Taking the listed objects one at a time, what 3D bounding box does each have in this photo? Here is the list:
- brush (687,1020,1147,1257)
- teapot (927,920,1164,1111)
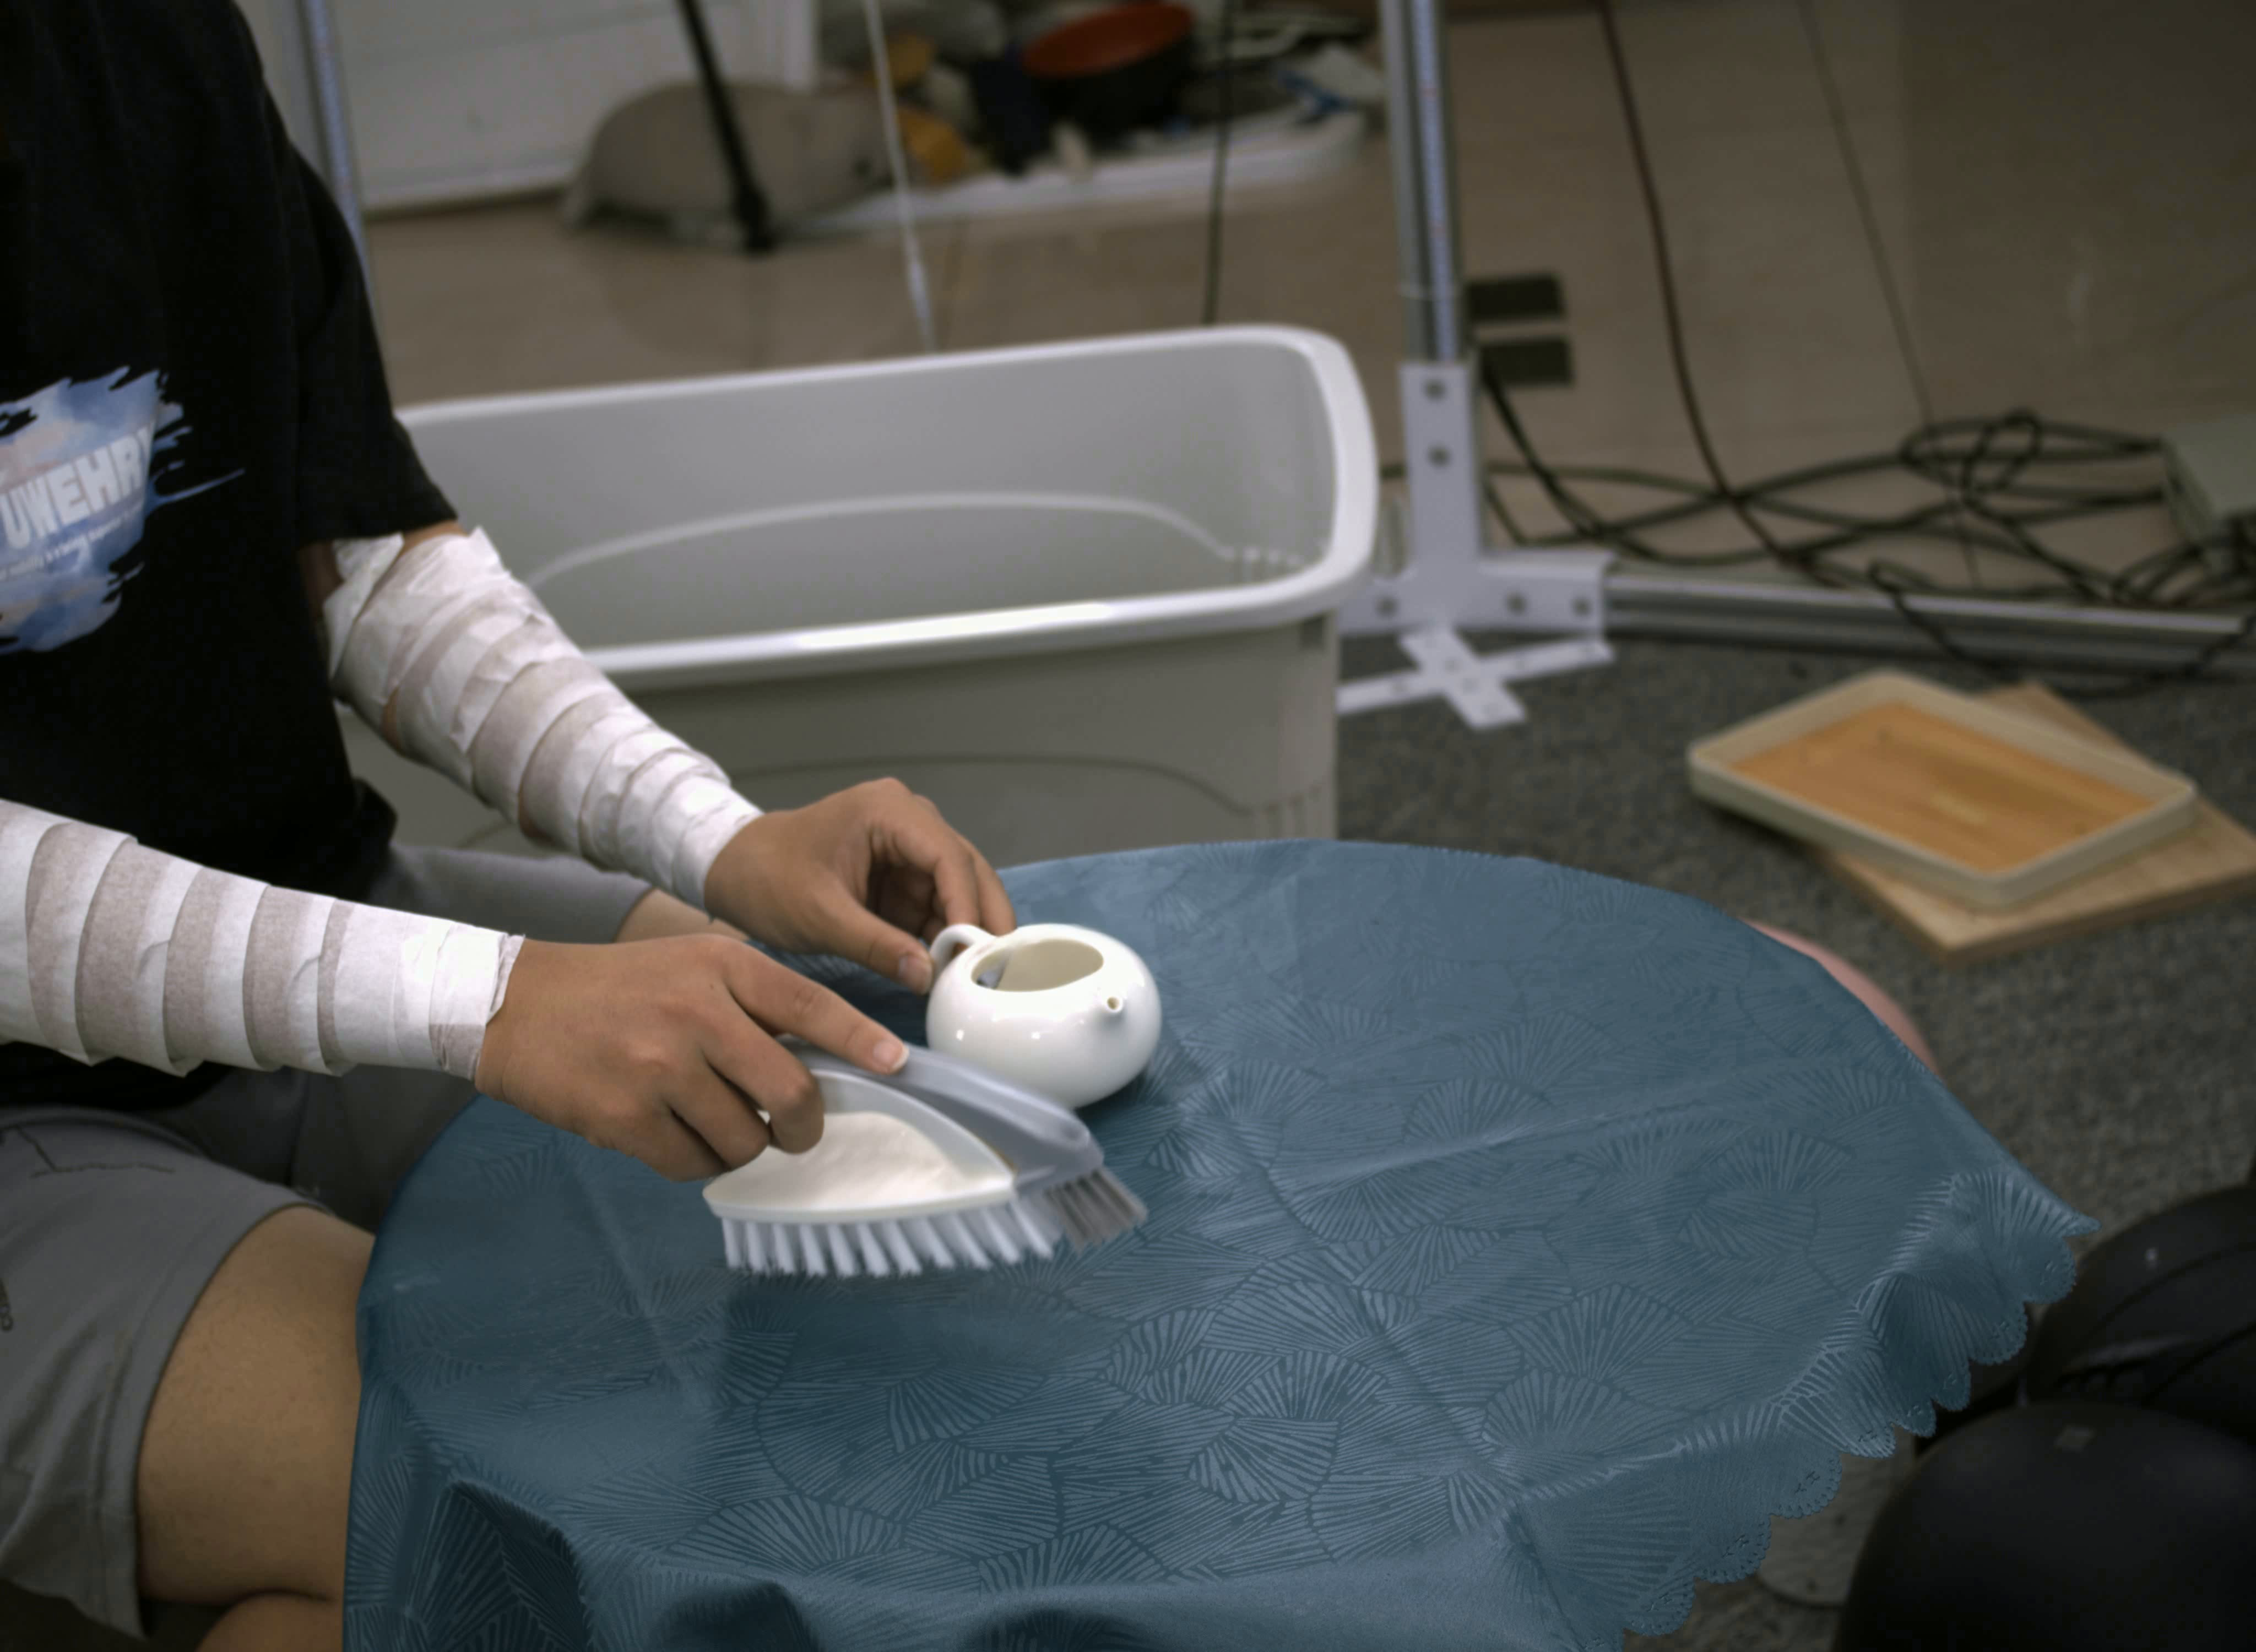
[{"bbox_3d":[-0.083,0.107,2.066,0.175,0.096,0.060,0,47,32],"label":"brush"},{"bbox_3d":[-0.039,0.073,2.234,0.093,0.057,0.126,-27,31,-31],"label":"teapot"}]
